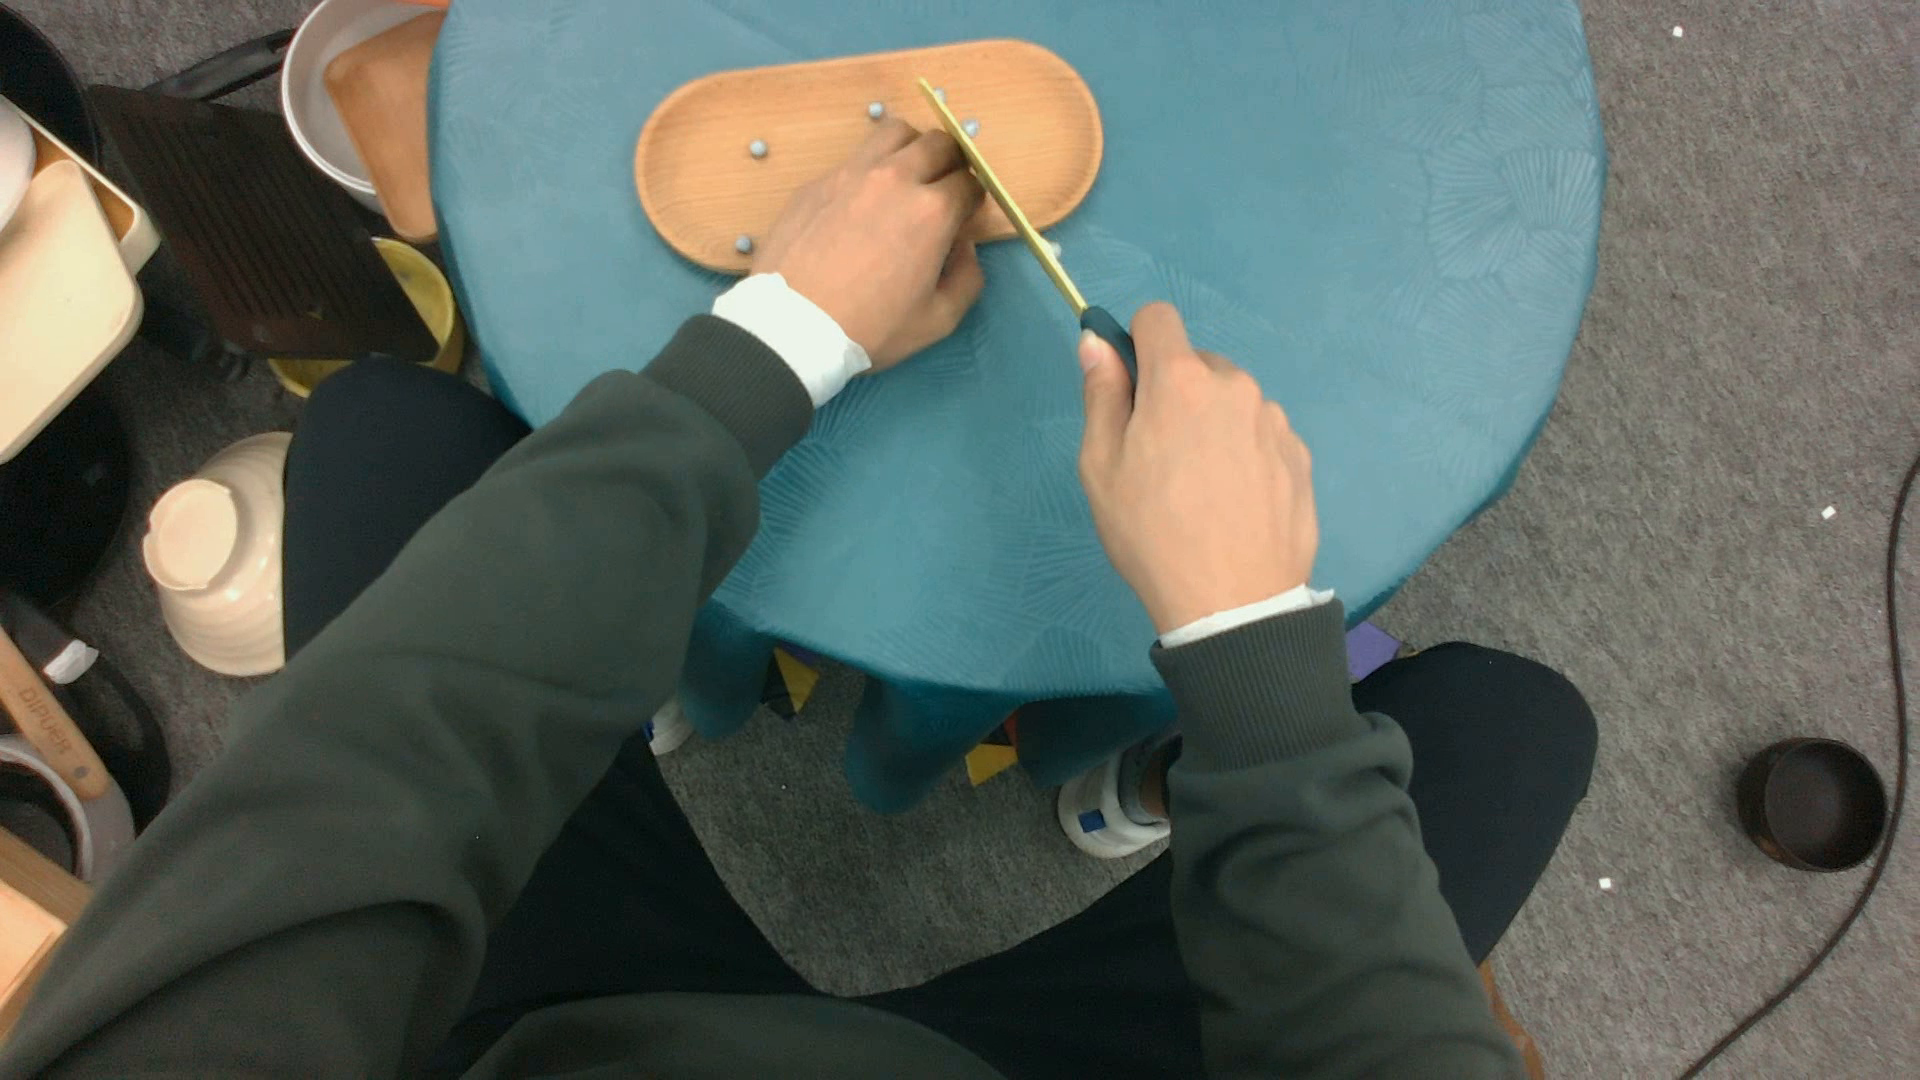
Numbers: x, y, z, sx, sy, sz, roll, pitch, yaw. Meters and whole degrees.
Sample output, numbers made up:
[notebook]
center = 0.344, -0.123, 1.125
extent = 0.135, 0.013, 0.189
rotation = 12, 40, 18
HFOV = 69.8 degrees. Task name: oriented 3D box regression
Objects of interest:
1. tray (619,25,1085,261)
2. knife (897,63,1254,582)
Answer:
[tray]
center = -0.051, -0.197, 0.684
extent = 0.231, 0.020, 0.102
rotation = -10, 85, -9
[knife]
center = 0.044, -0.103, 0.610
extent = 0.027, 0.081, 0.290
rotation = -34, 75, 9
